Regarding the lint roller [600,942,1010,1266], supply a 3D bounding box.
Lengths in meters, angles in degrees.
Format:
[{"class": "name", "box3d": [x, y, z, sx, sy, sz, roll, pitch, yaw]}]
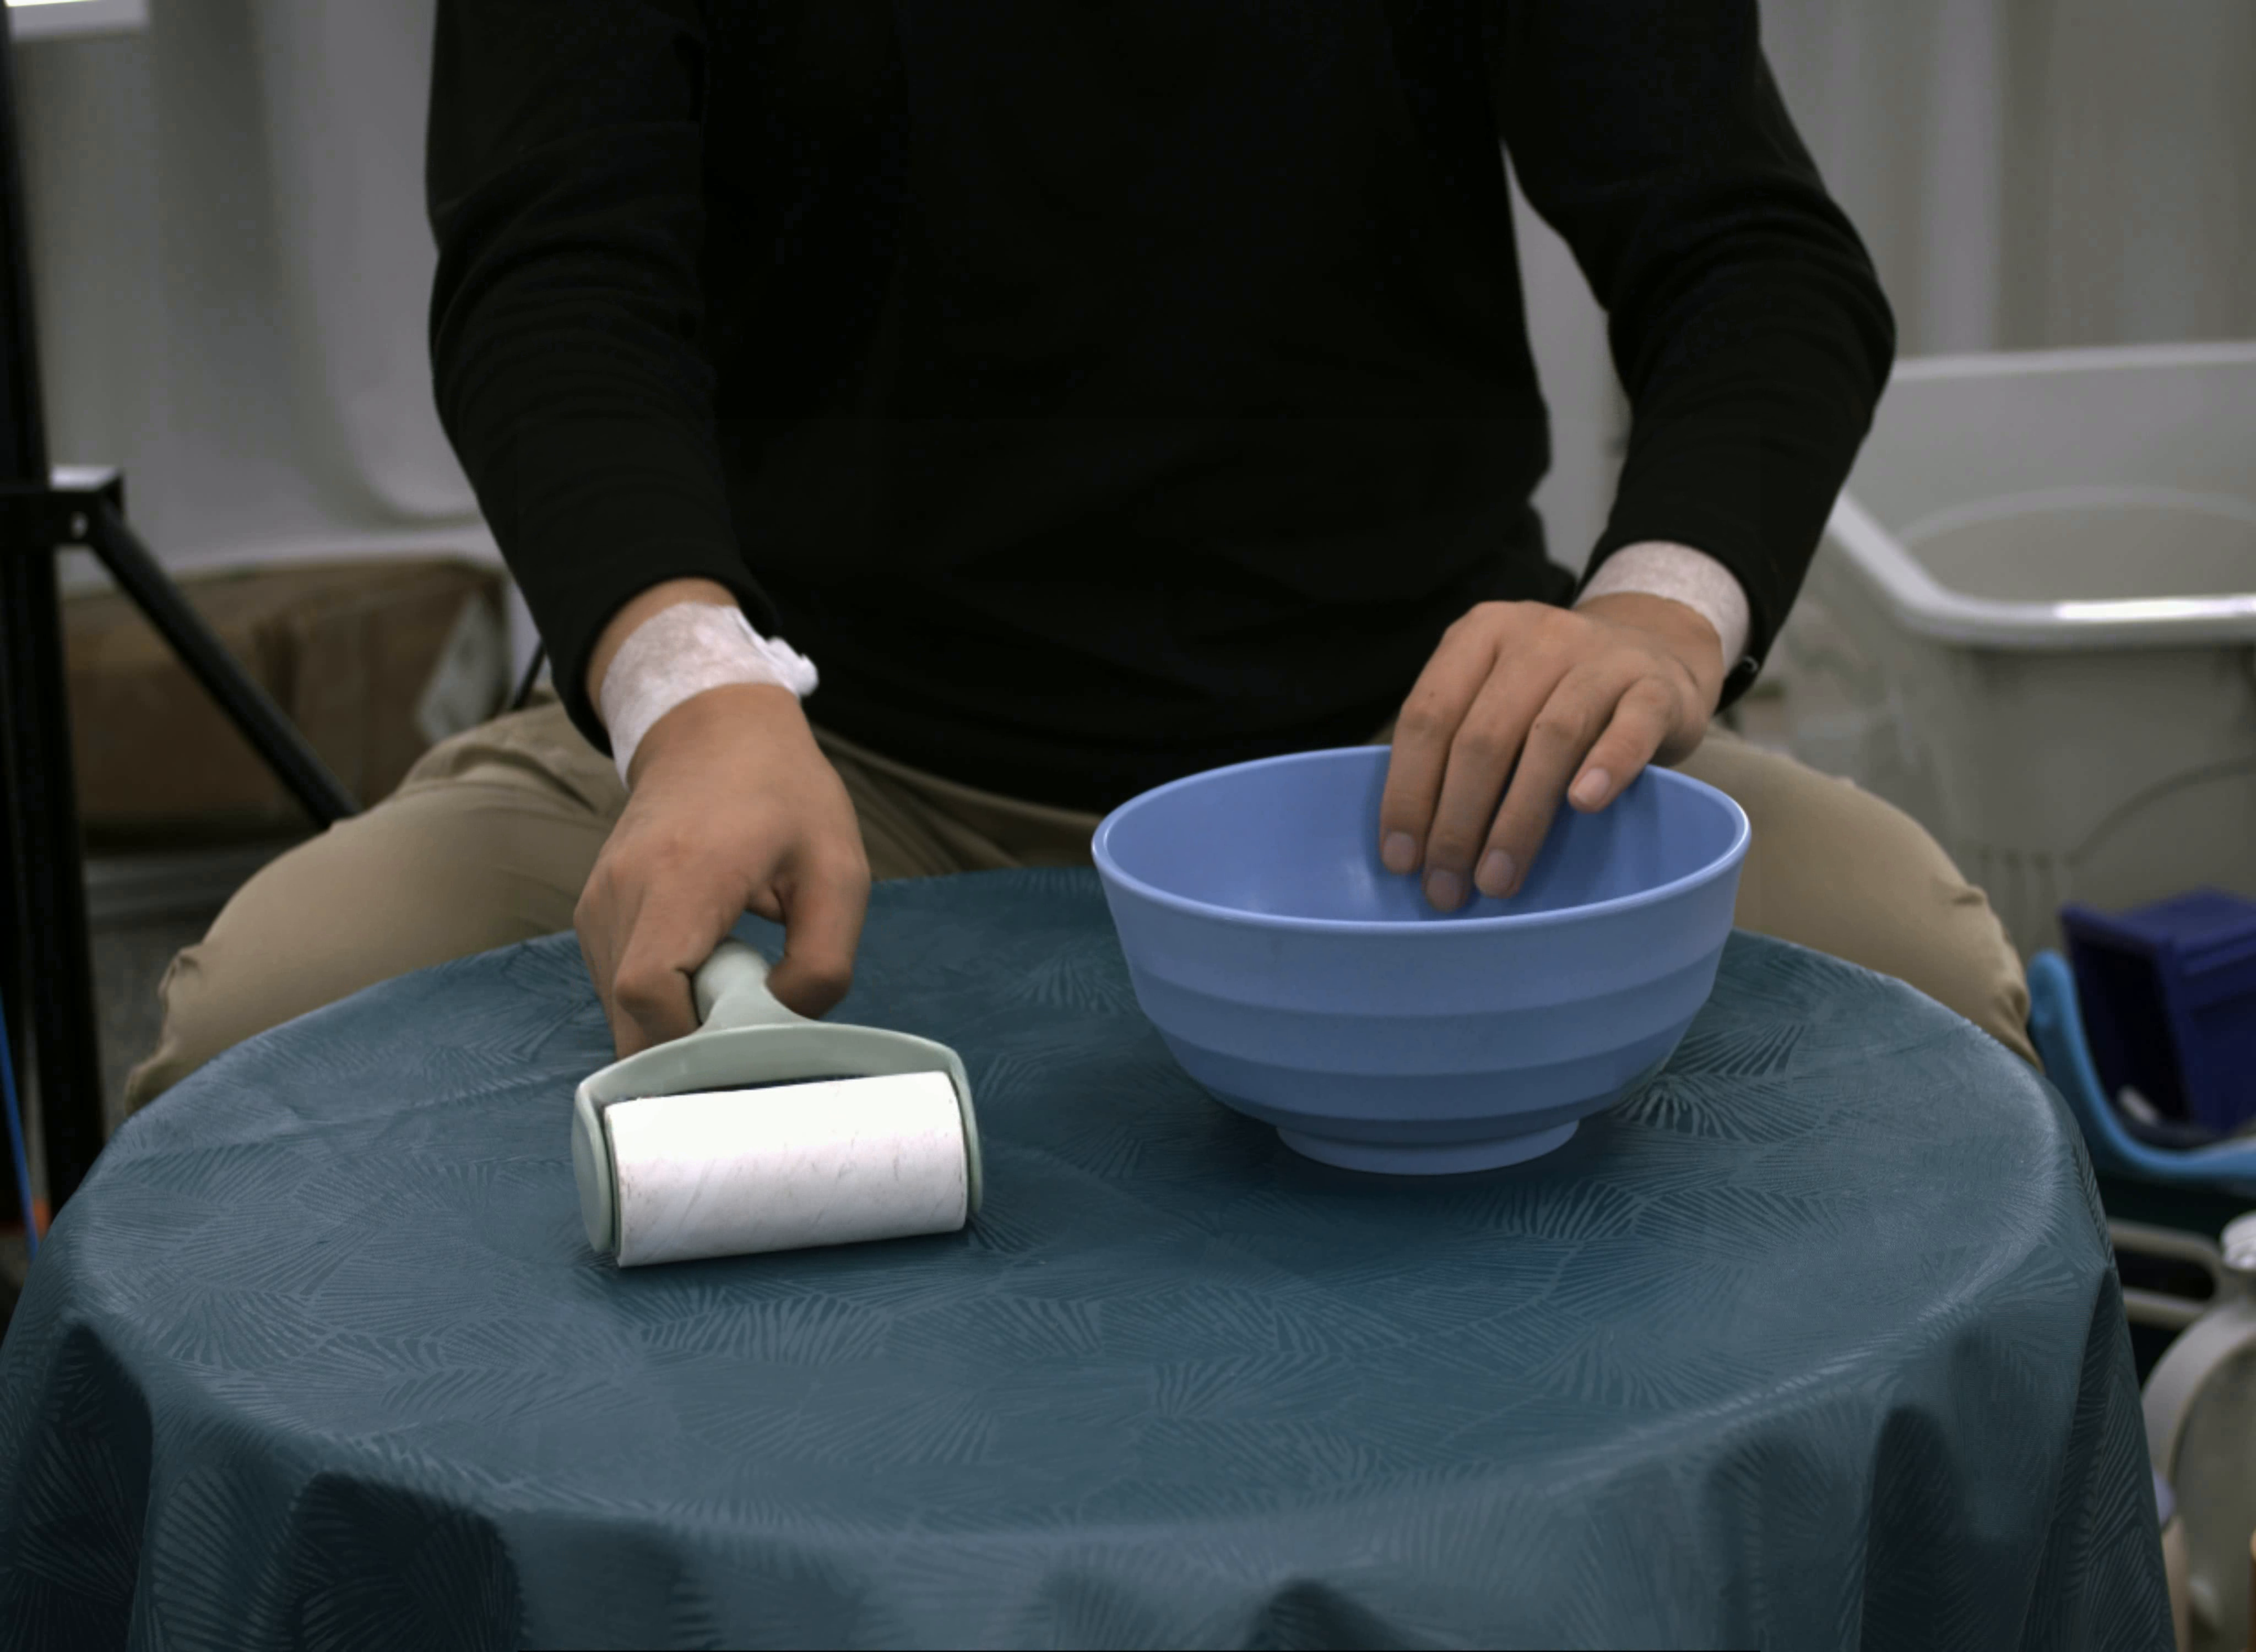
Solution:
[{"class": "lint roller", "box3d": [-0.107, 0.068, 1.592, 0.115, 0.048, 0.200, -7, 24, -10]}]

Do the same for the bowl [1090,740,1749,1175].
[{"class": "bowl", "box3d": [0.089, 0.045, 1.589, 0.195, 0.095, 0.197, -4, 16, 0]}]
